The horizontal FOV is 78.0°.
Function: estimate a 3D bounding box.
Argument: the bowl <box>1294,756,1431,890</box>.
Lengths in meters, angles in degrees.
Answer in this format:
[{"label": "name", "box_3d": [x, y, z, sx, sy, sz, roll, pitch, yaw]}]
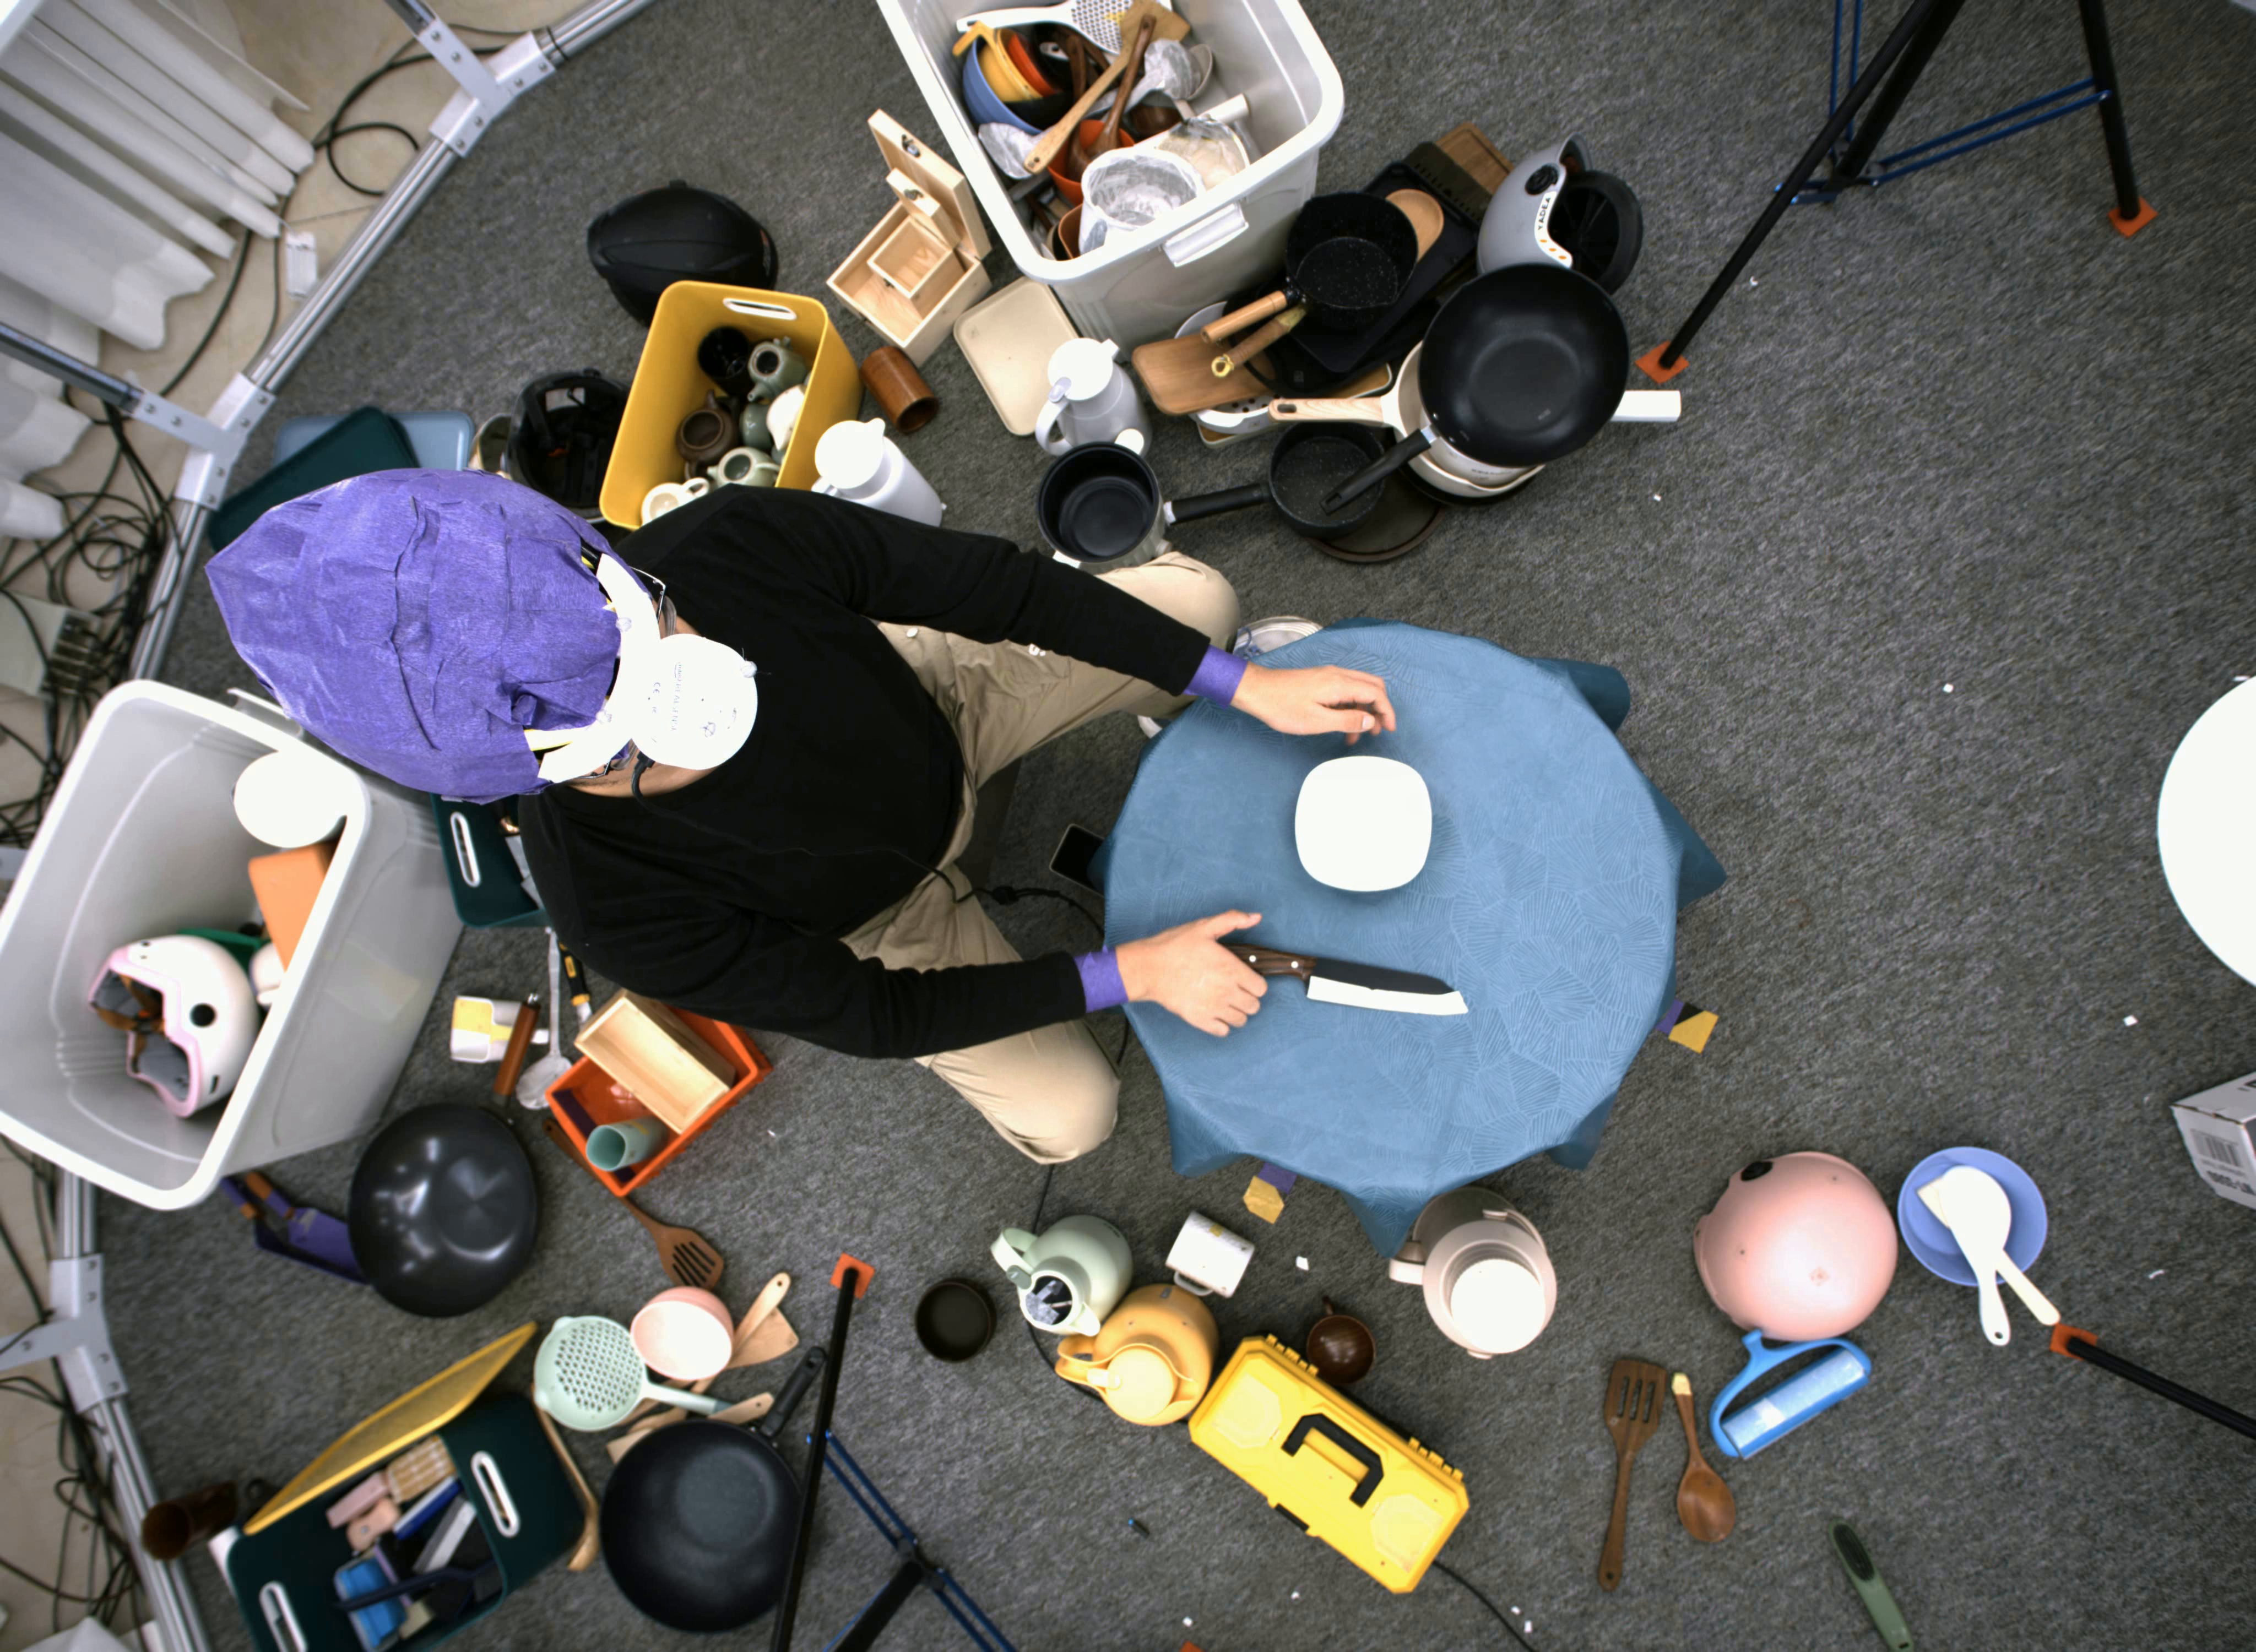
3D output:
[{"label": "bowl", "box_3d": [0.244, -0.002, 1.442, 0.152, 0.058, 0.151, -1, 87, 9]}]

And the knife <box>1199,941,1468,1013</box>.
[{"label": "knife", "box_3d": [0.215, 0.159, 1.460, 0.289, 0.020, 0.050, 11, 93, 9]}]
